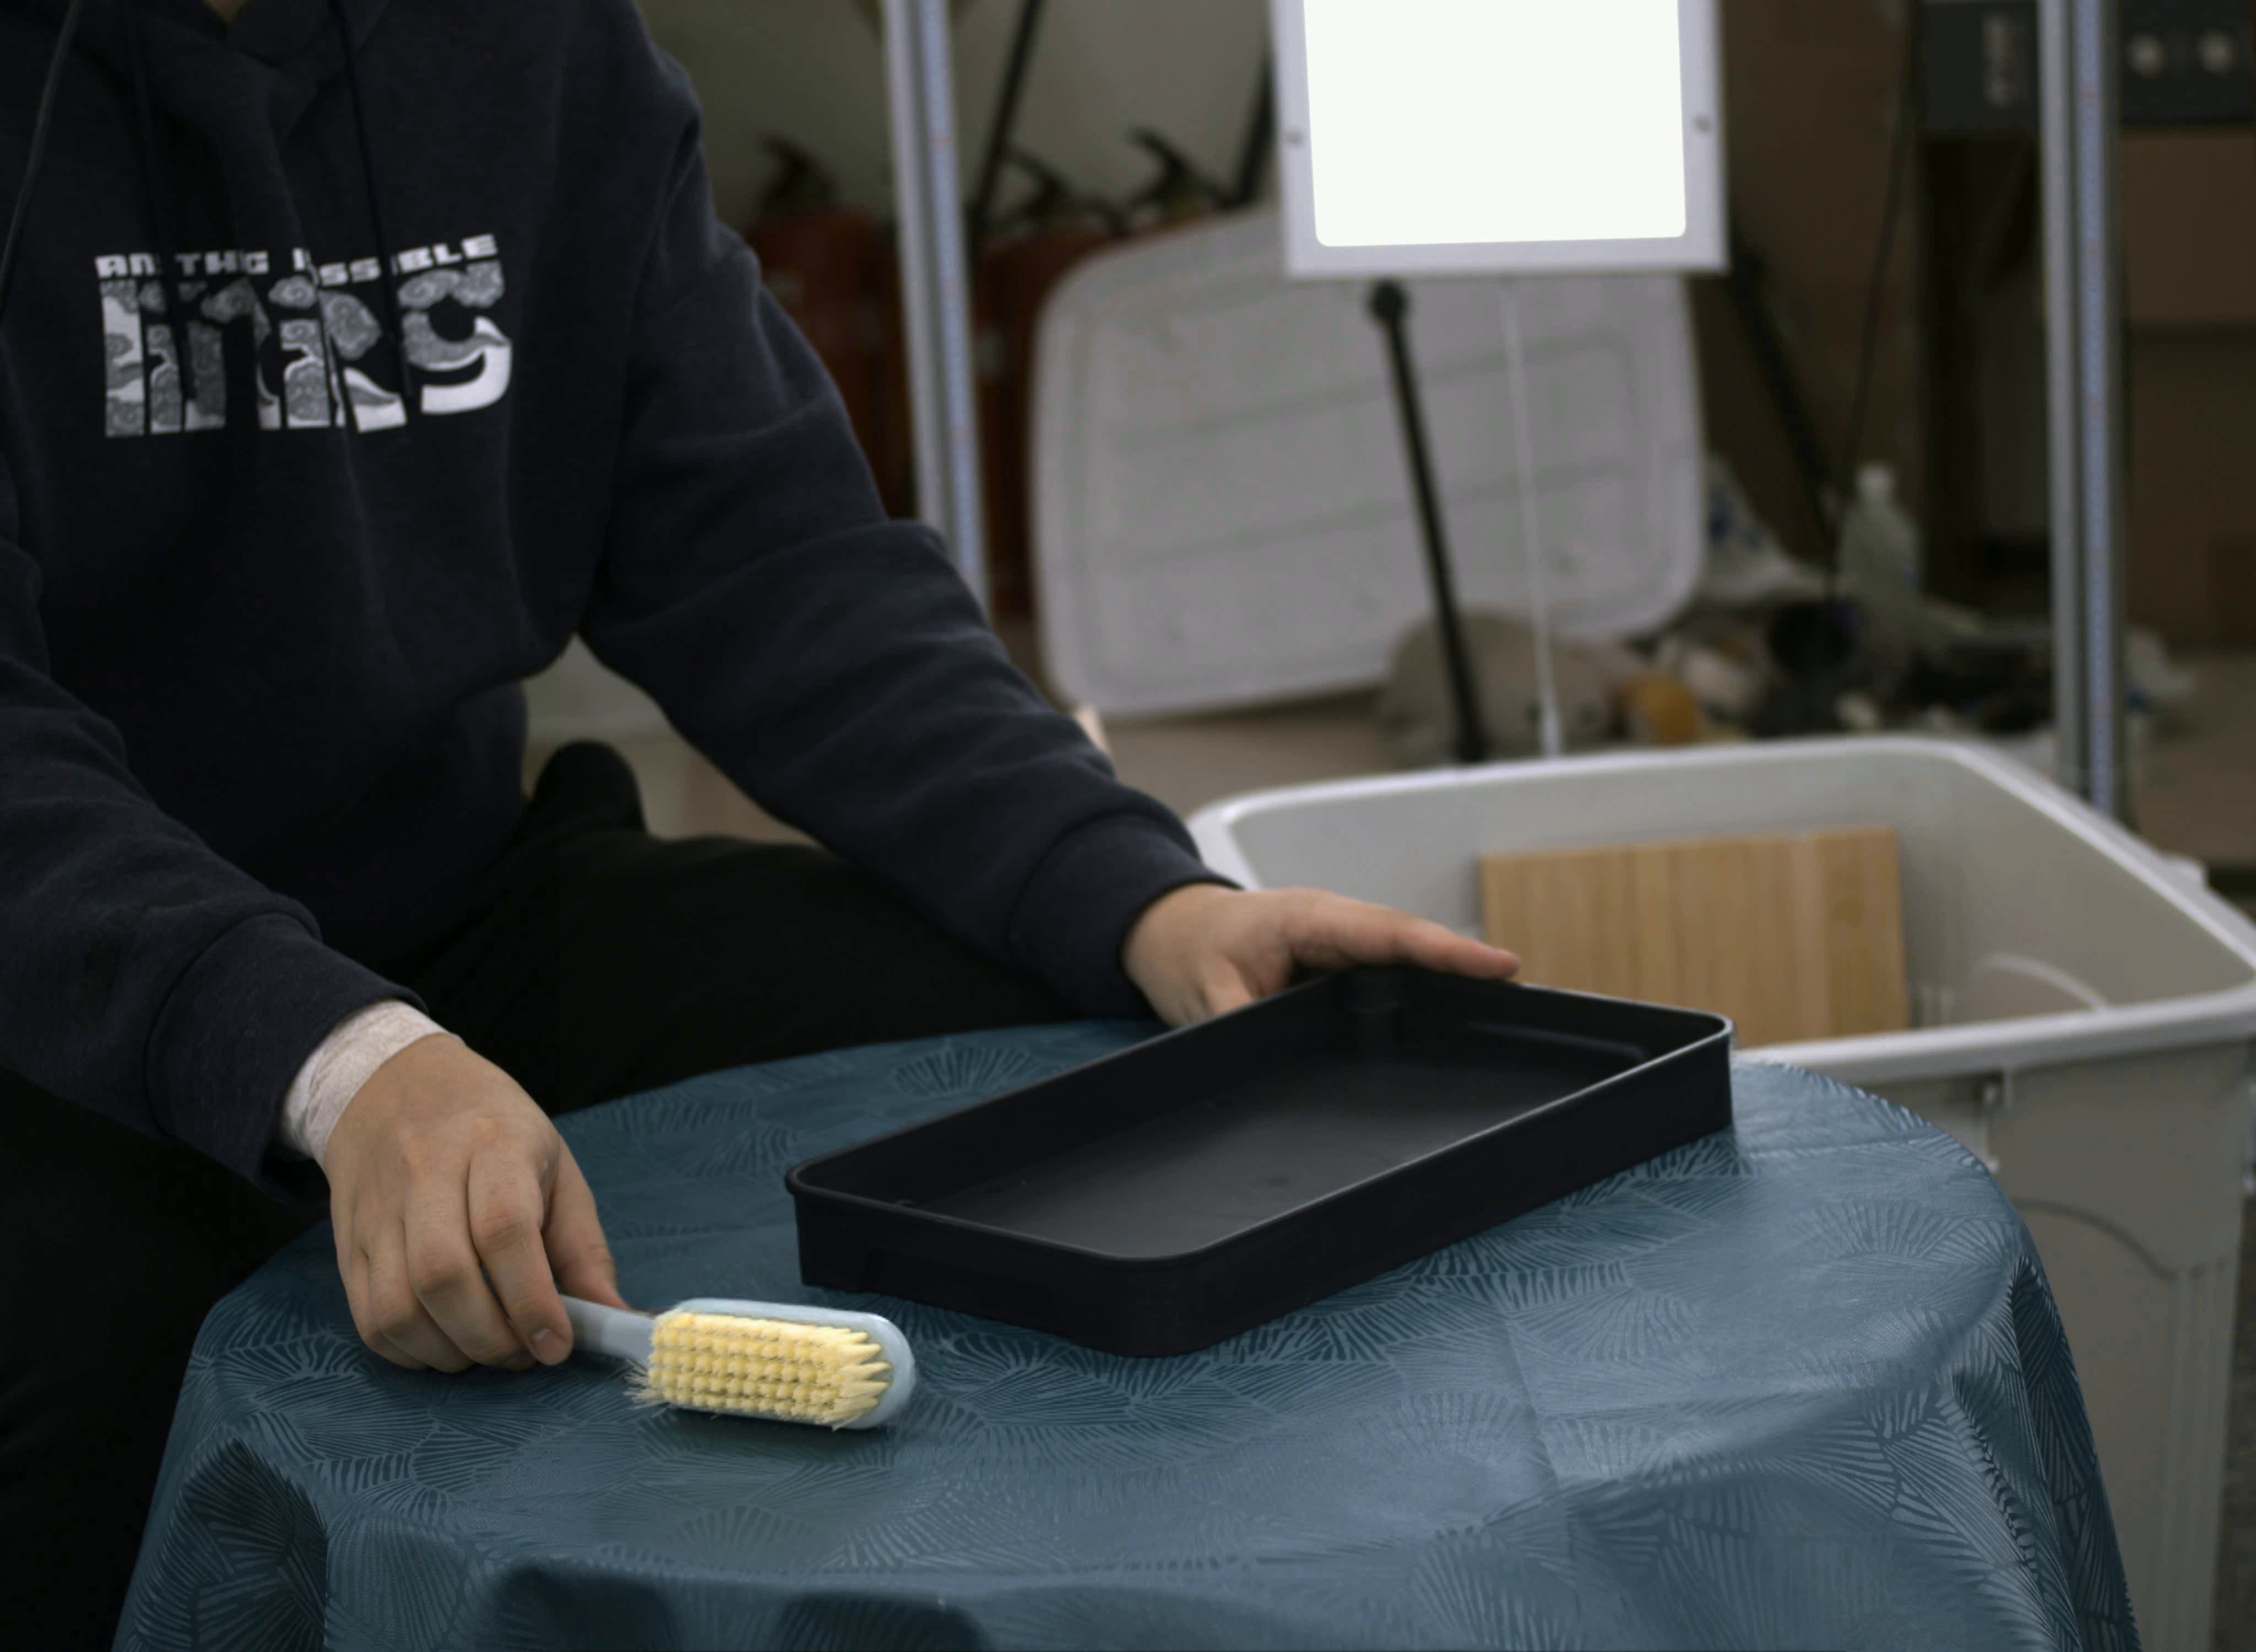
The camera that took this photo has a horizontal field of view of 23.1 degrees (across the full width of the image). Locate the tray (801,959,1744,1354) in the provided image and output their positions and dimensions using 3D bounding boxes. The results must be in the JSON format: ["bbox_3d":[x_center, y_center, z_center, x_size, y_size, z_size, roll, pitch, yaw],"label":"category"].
[{"bbox_3d":[0.055,0.107,1.883,0.188,0.037,0.310,7,18,43],"label":"tray"}]

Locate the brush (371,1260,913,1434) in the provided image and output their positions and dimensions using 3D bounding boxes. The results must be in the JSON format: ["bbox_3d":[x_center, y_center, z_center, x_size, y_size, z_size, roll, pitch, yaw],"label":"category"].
[{"bbox_3d":[-0.164,0.160,1.739,0.234,0.038,0.048,7,6,42],"label":"brush"}]
